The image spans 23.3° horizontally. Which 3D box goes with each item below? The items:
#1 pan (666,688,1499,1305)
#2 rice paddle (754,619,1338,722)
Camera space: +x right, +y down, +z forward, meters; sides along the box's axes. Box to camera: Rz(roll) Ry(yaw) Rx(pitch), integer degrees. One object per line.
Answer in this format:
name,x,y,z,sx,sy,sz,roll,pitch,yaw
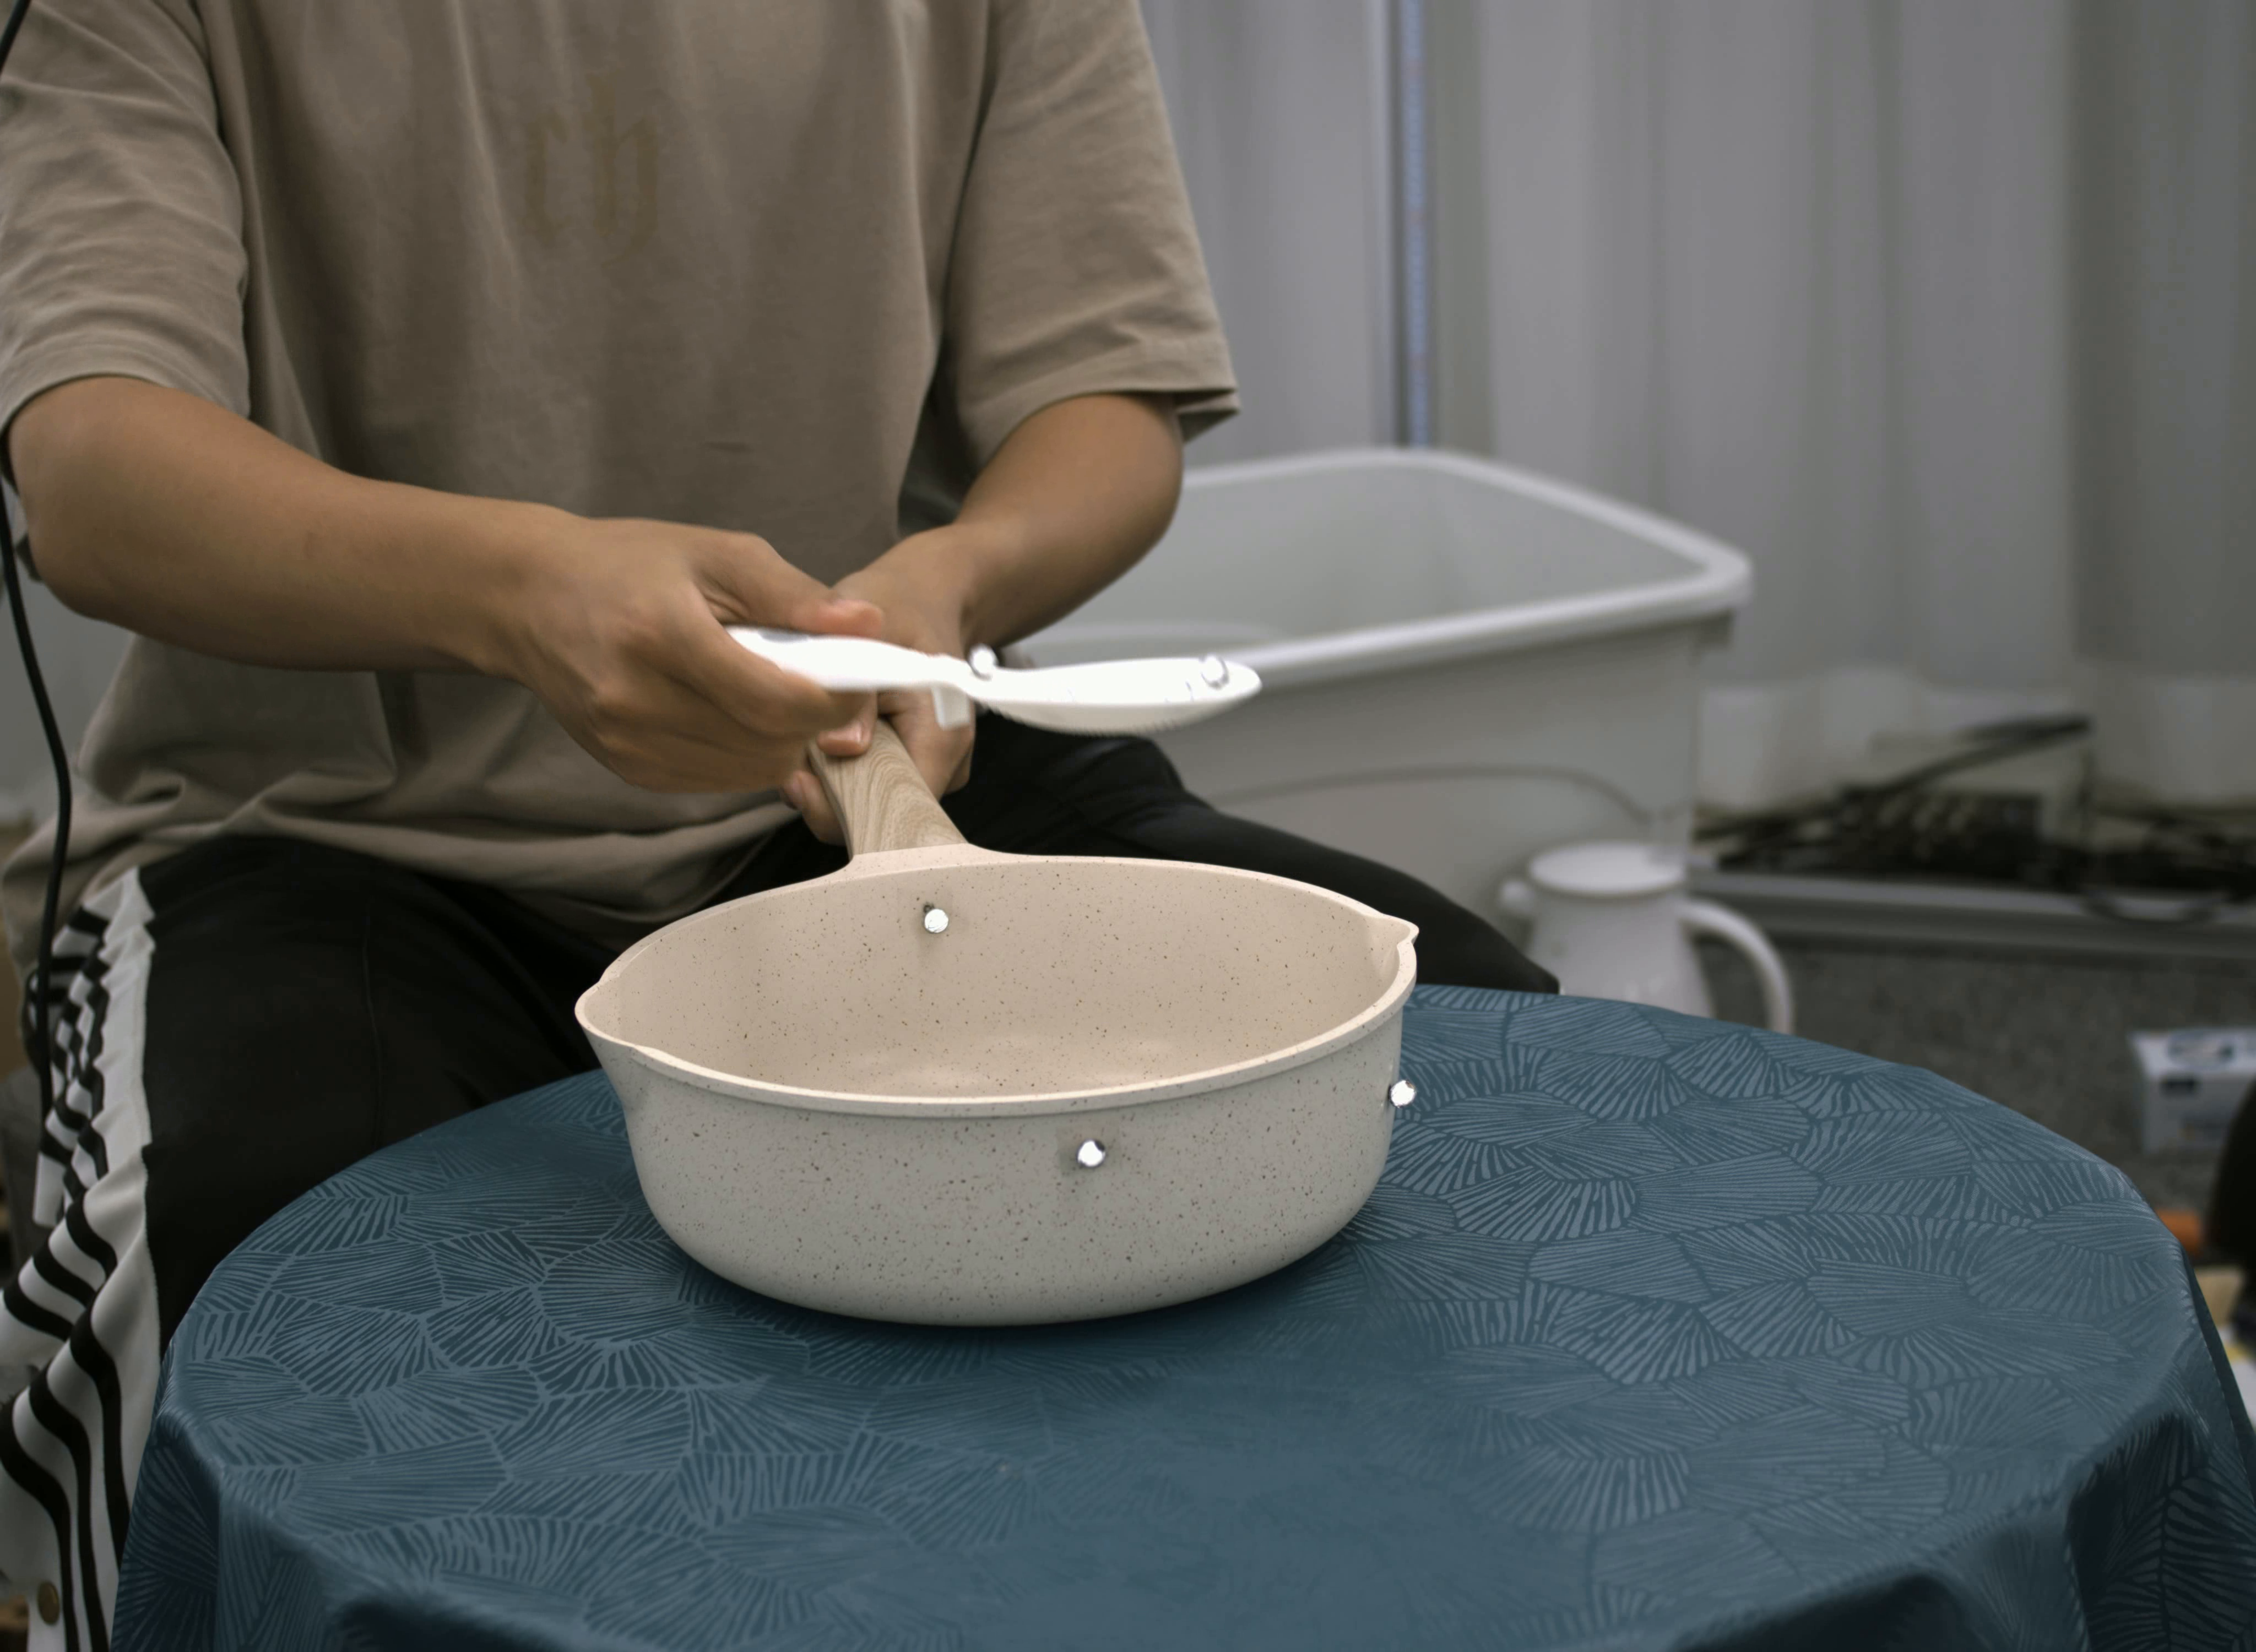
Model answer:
pan,-0.032,0.049,1.769,0.262,0.101,0.438,-9,15,-12
rice paddle,-0.026,-0.047,1.646,0.206,0.029,0.069,2,14,37
